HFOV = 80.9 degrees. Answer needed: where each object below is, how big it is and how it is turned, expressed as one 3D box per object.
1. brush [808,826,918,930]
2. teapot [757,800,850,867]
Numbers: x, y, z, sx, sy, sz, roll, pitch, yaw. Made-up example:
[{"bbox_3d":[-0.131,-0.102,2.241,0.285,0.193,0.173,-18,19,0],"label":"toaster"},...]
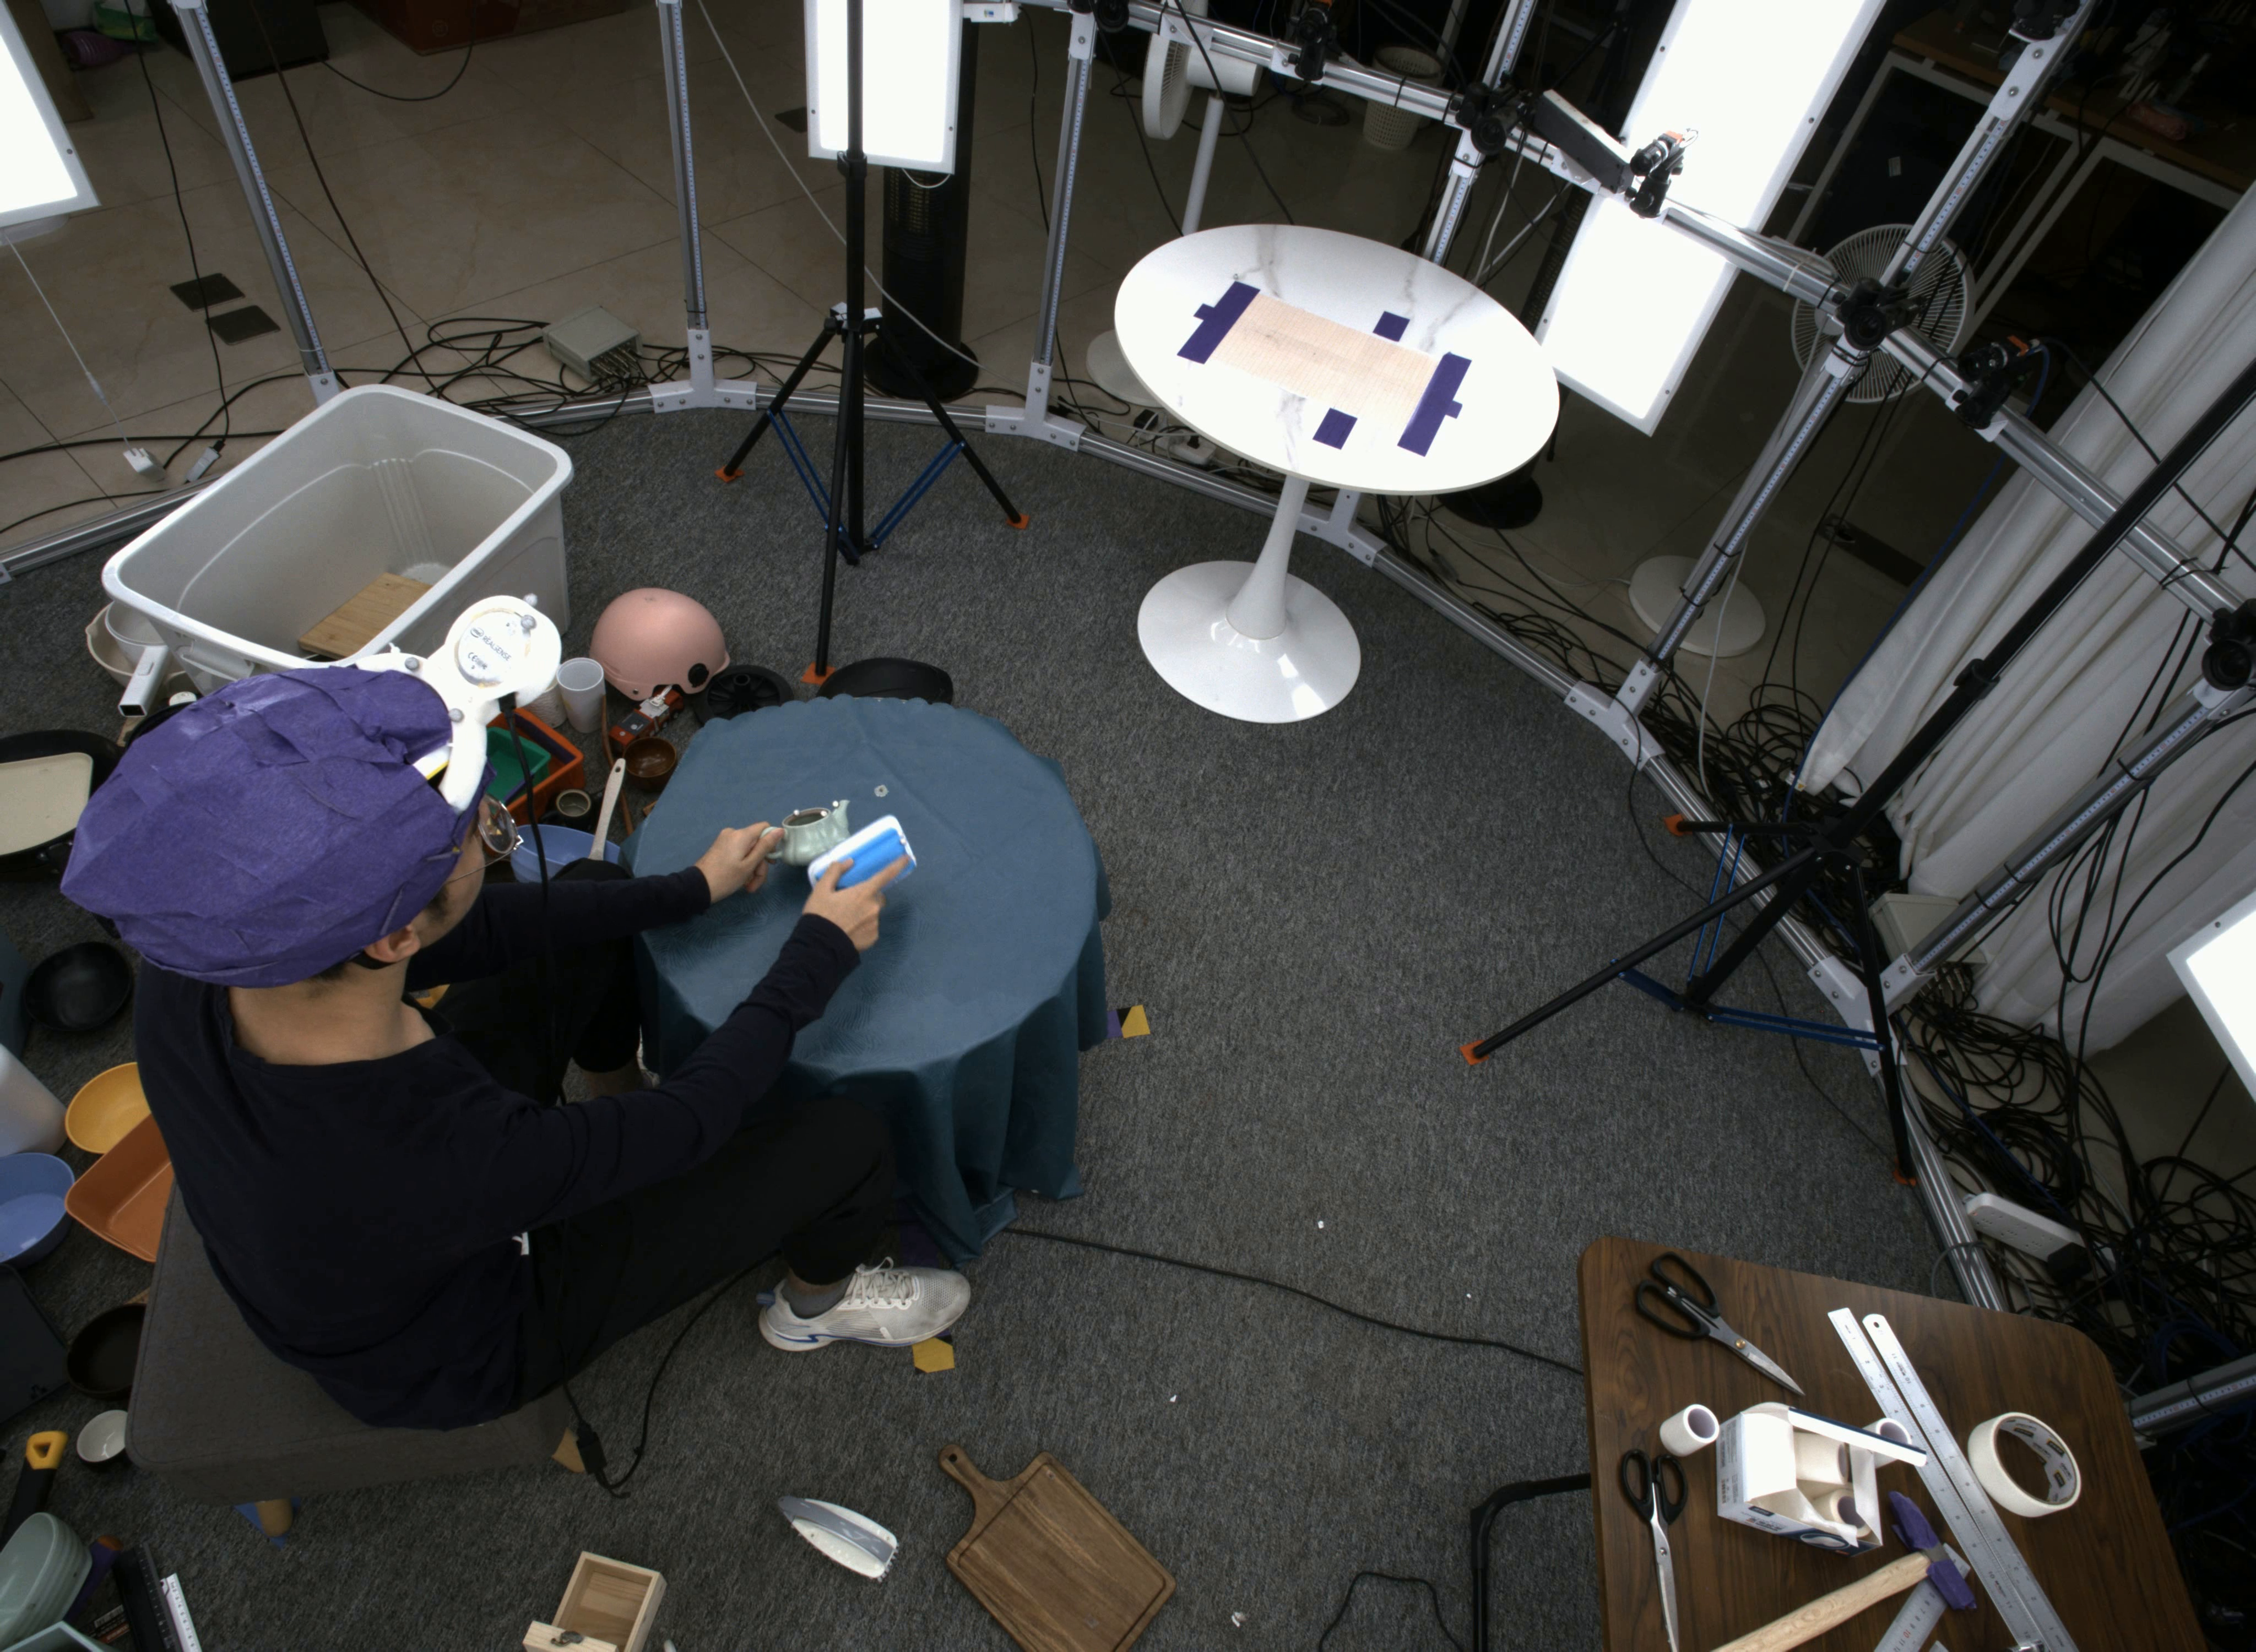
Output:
[{"bbox_3d":[-0.318,0.061,1.594,0.054,0.086,0.144,1,28,48],"label":"brush"},{"bbox_3d":[-0.410,0.013,1.653,0.092,0.063,0.138,16,30,43],"label":"teapot"}]
